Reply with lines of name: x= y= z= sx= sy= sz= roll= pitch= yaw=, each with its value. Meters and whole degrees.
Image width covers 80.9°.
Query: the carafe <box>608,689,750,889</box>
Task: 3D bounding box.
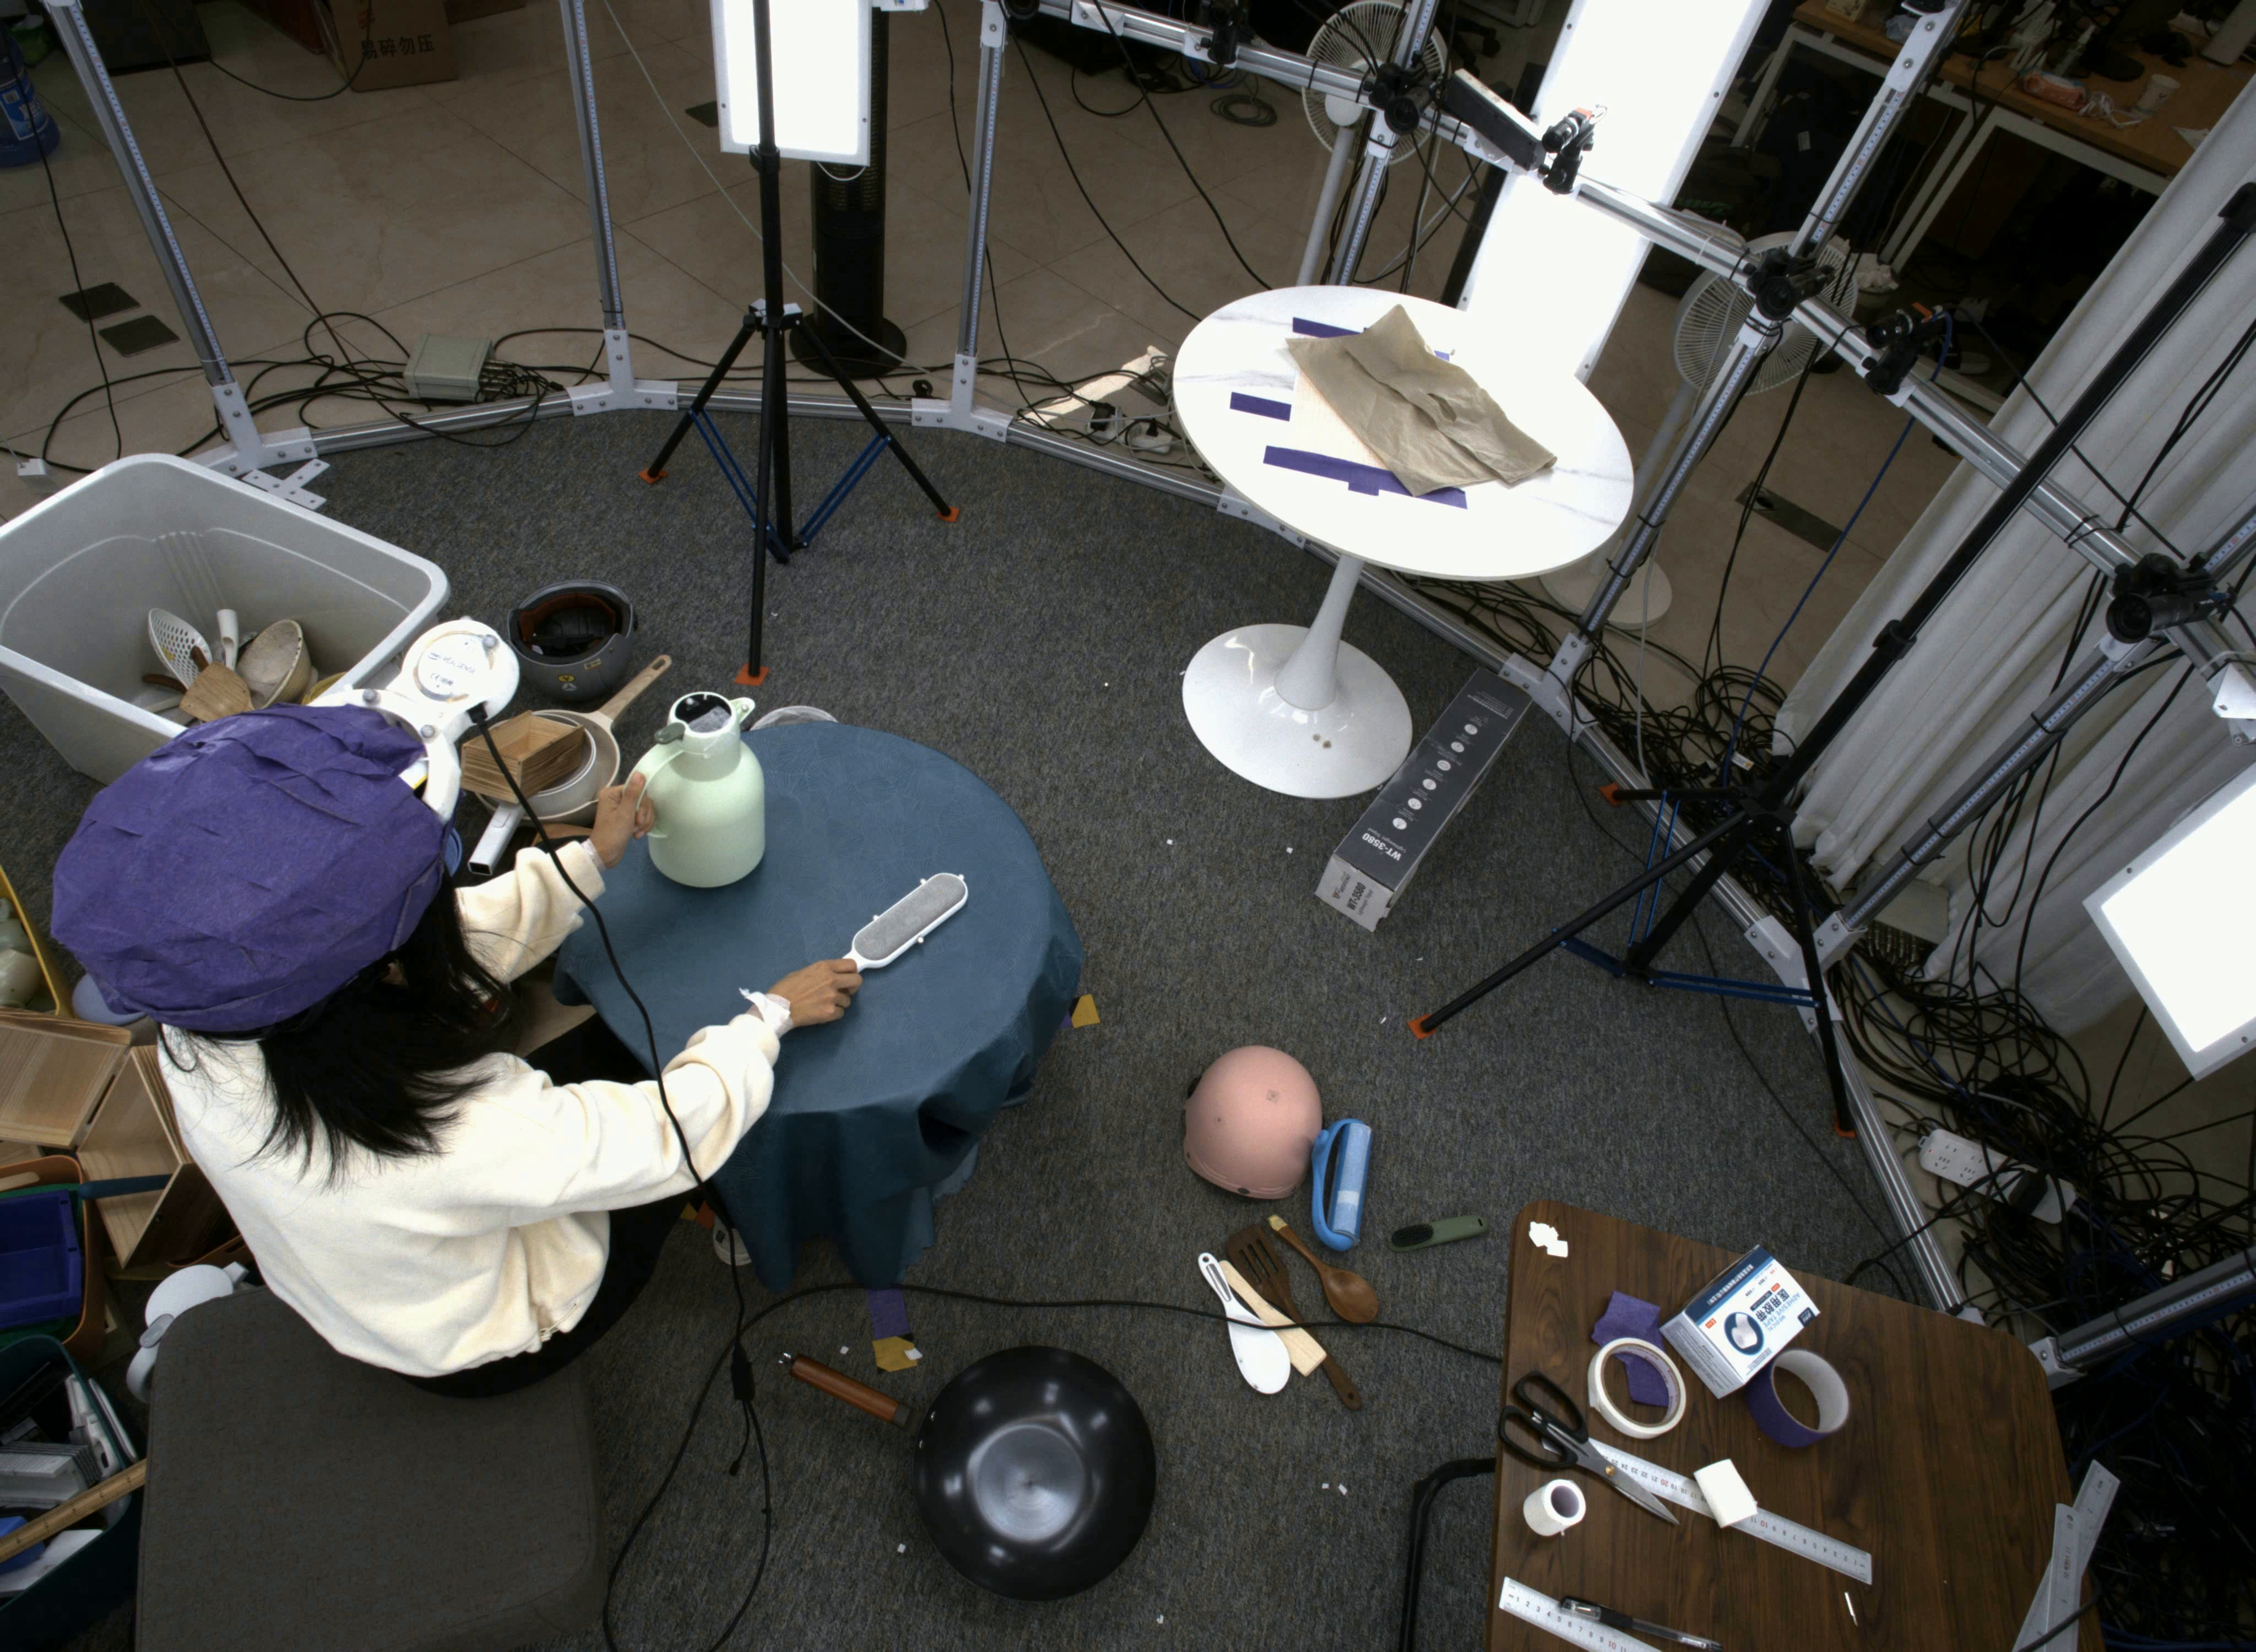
carafe: x=-0.543 y=-0.044 z=1.553 sx=0.141 sy=0.262 sz=0.187 roll=37 pitch=54 yaw=15

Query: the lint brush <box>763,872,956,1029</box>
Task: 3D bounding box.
lint brush: x=-0.331 y=0.149 z=1.614 sx=0.059 sy=0.021 sz=0.309 roll=39 pitch=53 yaw=14
